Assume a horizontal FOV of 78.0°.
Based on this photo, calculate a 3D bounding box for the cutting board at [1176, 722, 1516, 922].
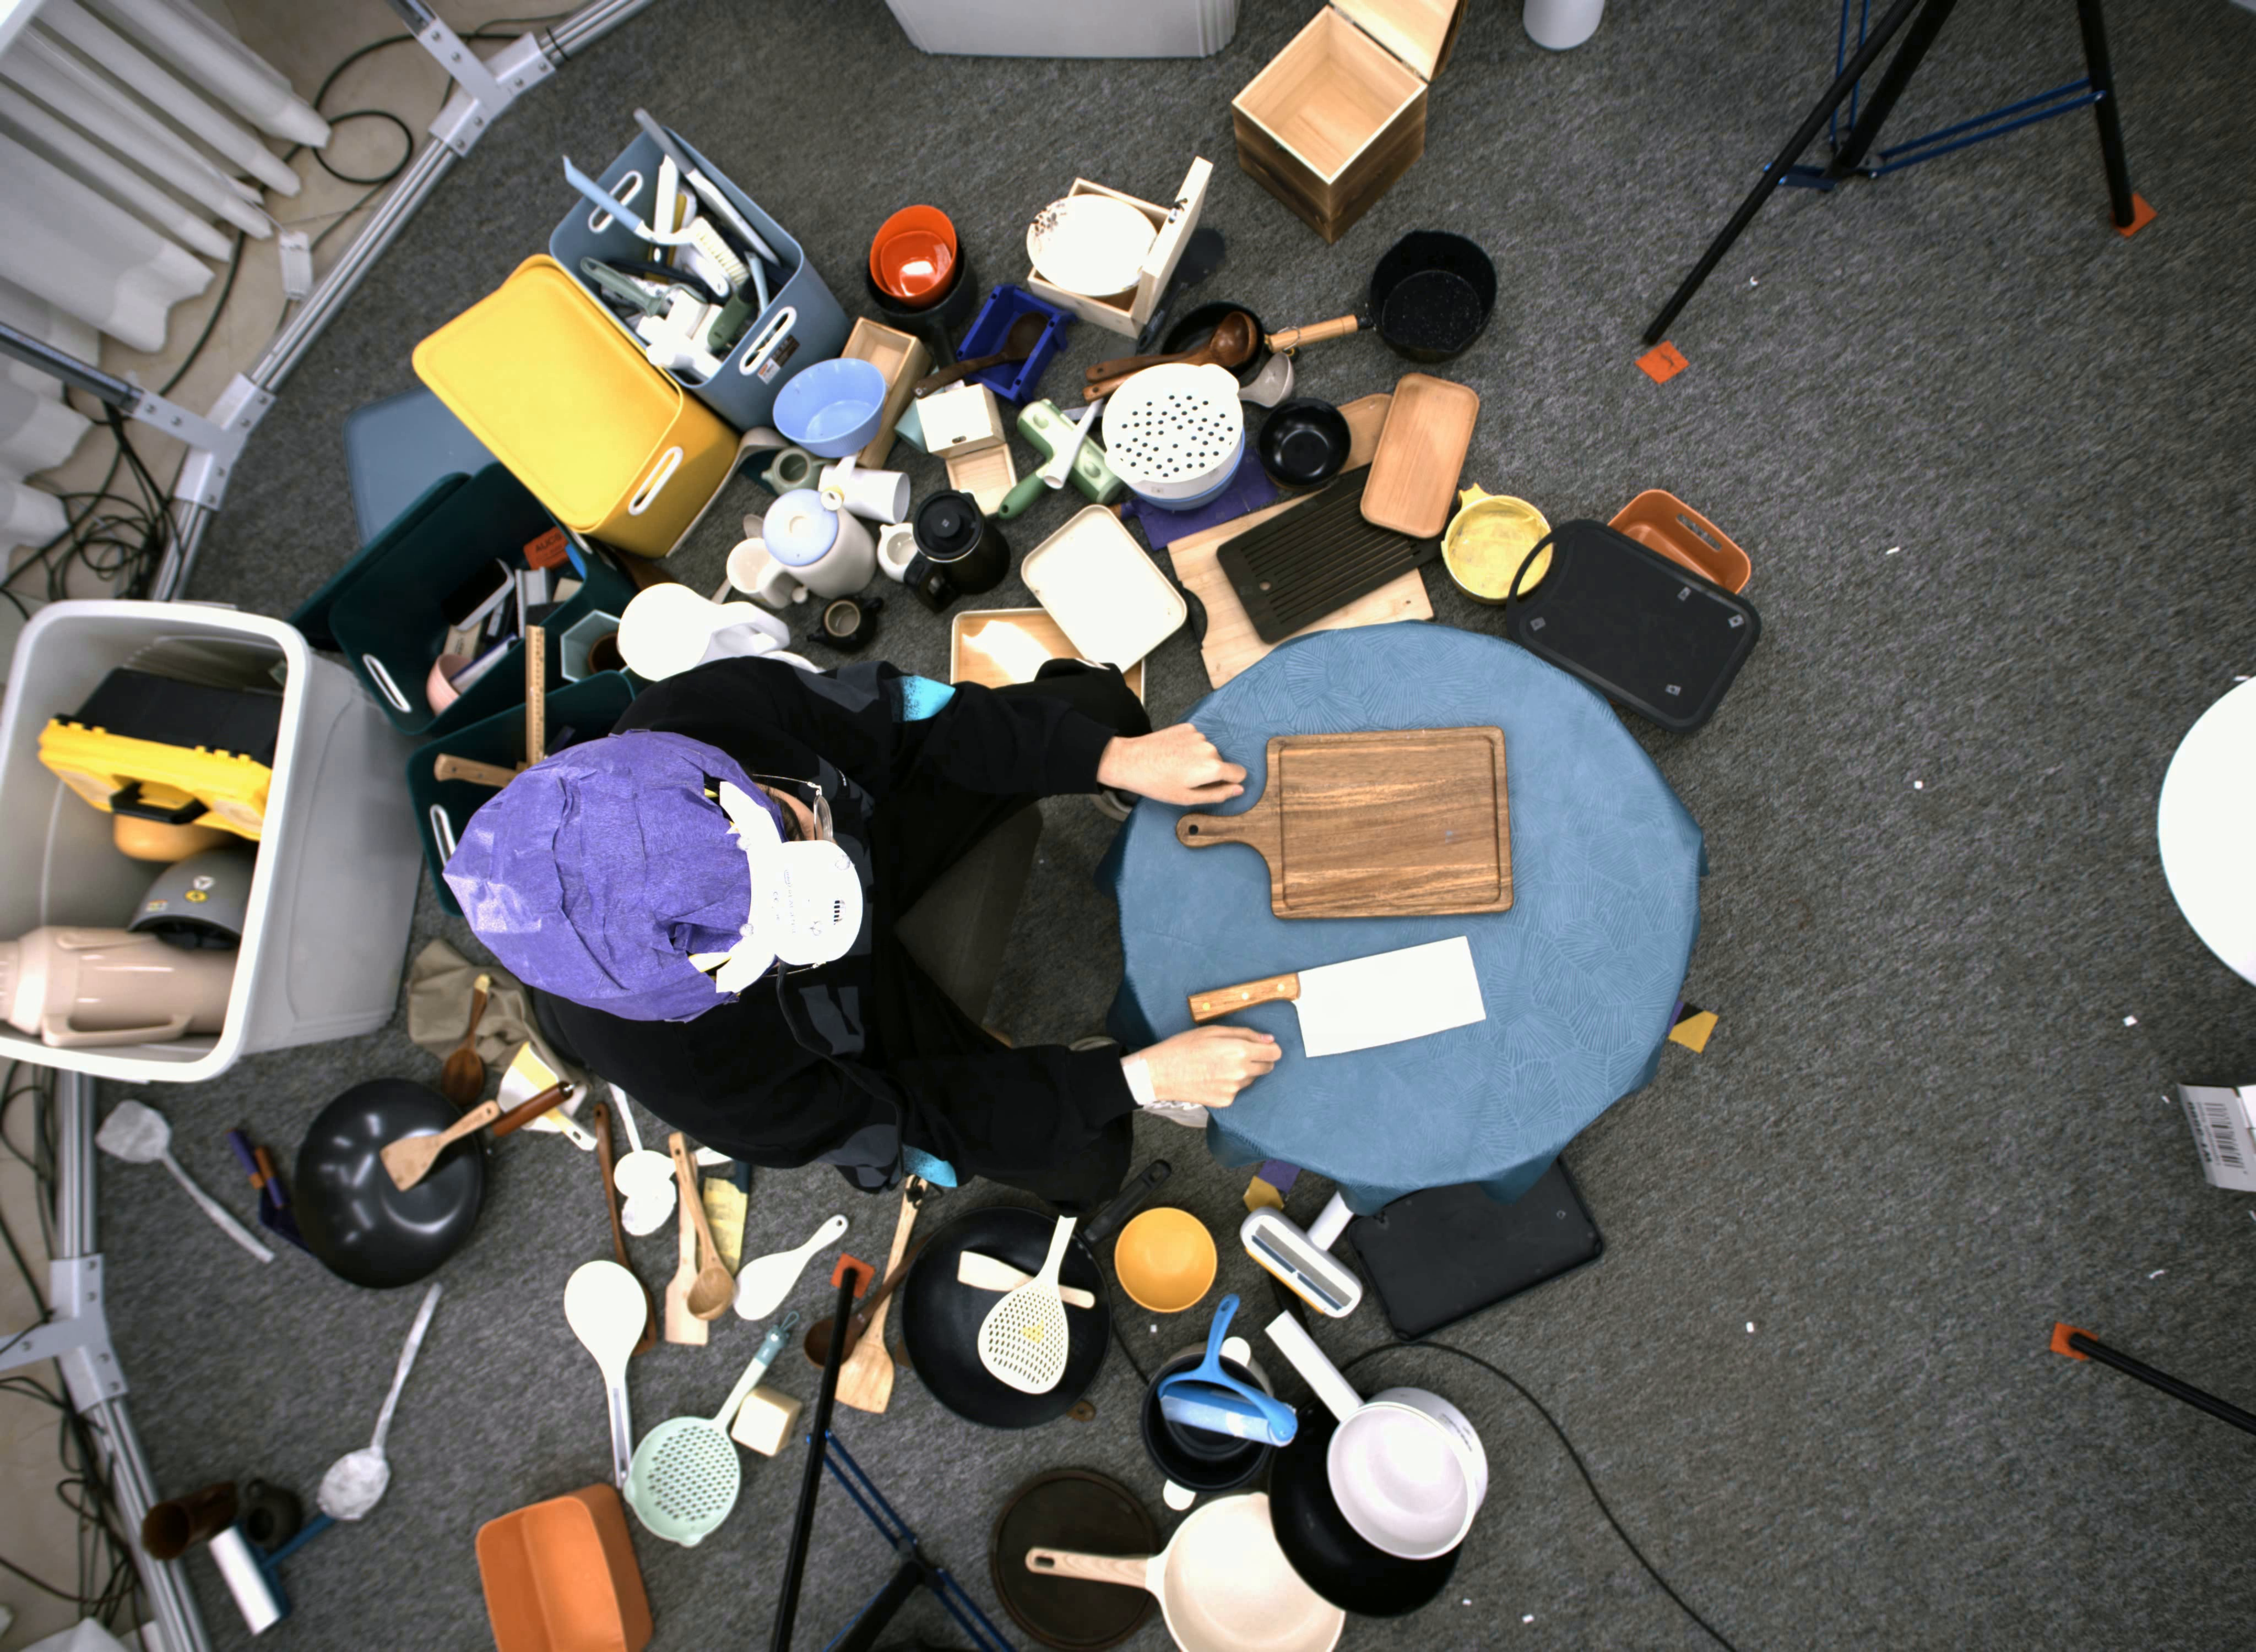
[{"bbox_3d":[0.226,-0.002,1.462,0.354,0.023,0.200,-3,86,11],"label":"cutting board"}]

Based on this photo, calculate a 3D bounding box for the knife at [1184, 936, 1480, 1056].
[{"bbox_3d":[0.215,0.189,1.456,0.307,0.021,0.092,-13,86,7],"label":"knife"}]
